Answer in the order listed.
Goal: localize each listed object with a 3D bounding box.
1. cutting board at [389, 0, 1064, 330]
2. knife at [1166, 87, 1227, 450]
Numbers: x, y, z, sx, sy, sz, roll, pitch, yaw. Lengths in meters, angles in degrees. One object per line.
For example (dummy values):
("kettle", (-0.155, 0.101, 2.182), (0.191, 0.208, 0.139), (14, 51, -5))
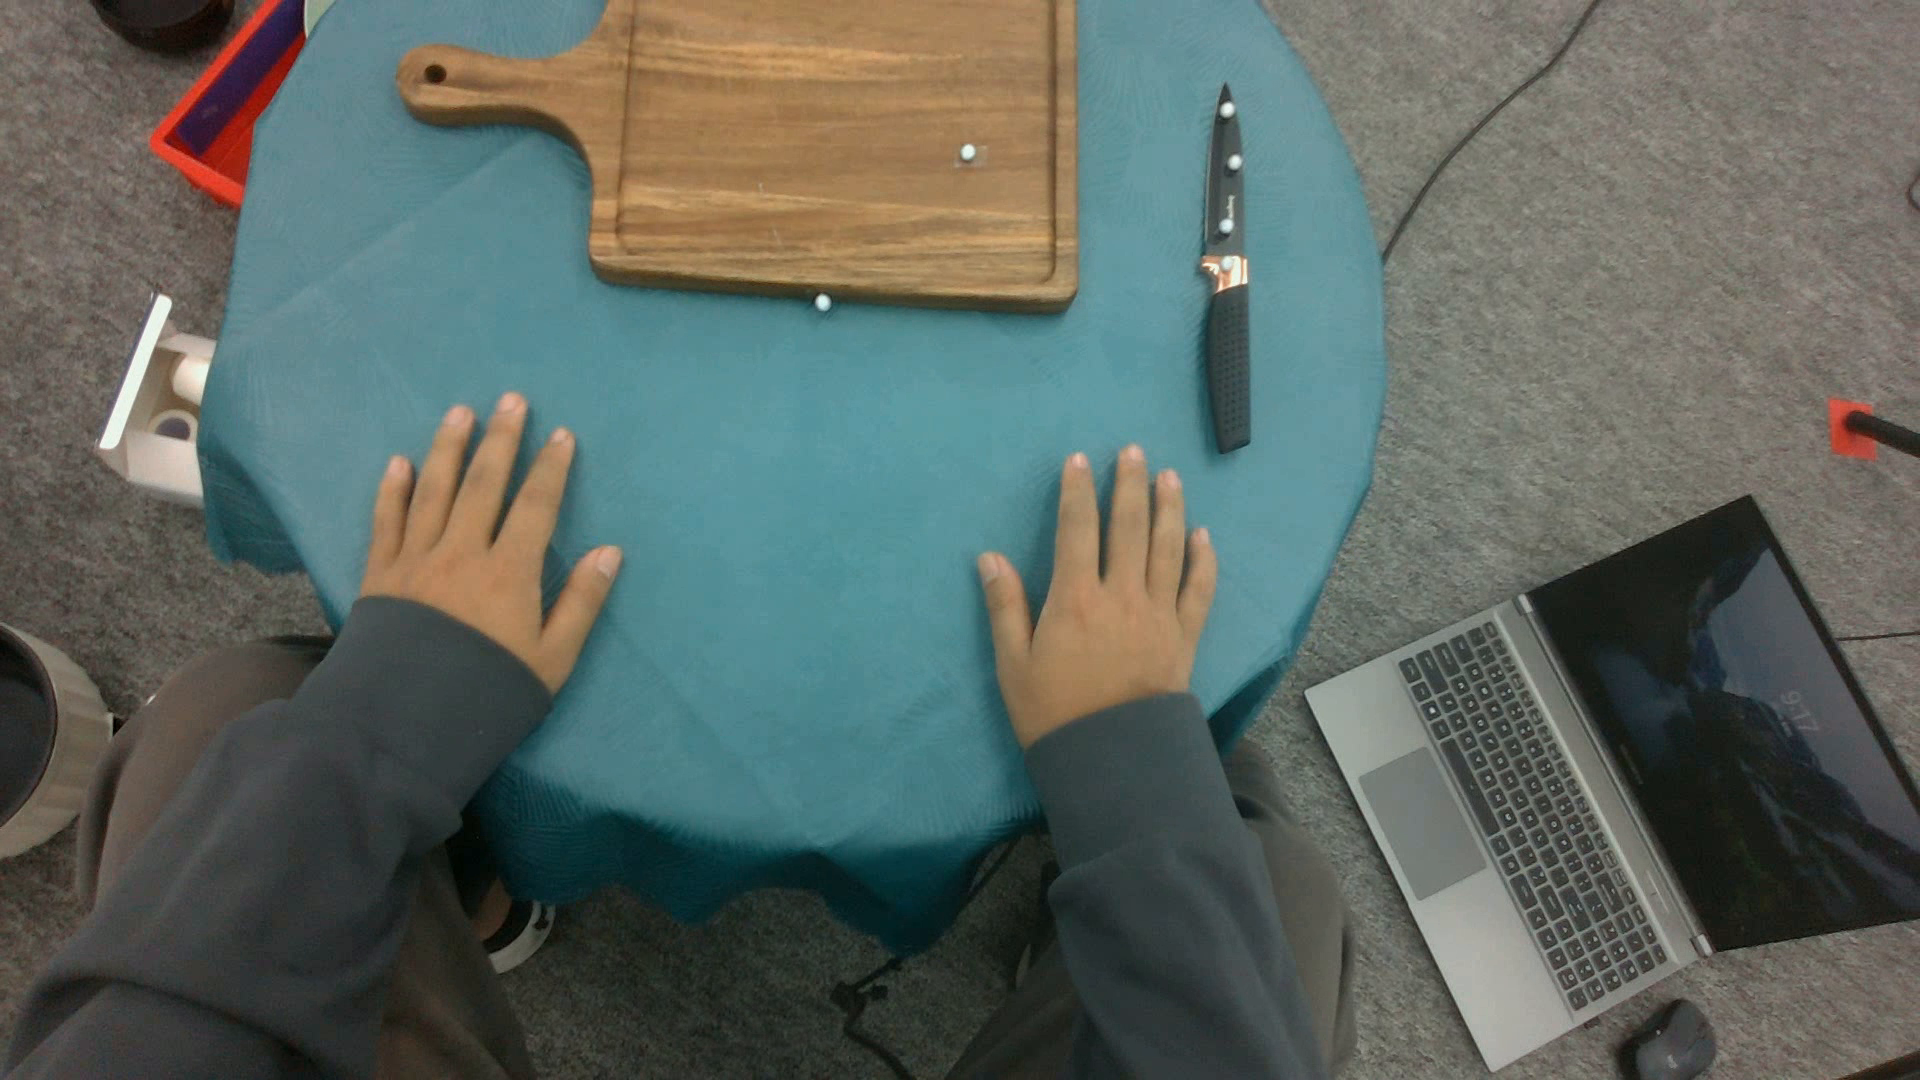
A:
("cutting board", (-0.124, -0.209, 0.747), (0.352, 0.023, 0.201), (-1, 74, -8))
("knife", (0.132, -0.157, 0.770), (0.026, 0.017, 0.226), (0, 73, -2))
